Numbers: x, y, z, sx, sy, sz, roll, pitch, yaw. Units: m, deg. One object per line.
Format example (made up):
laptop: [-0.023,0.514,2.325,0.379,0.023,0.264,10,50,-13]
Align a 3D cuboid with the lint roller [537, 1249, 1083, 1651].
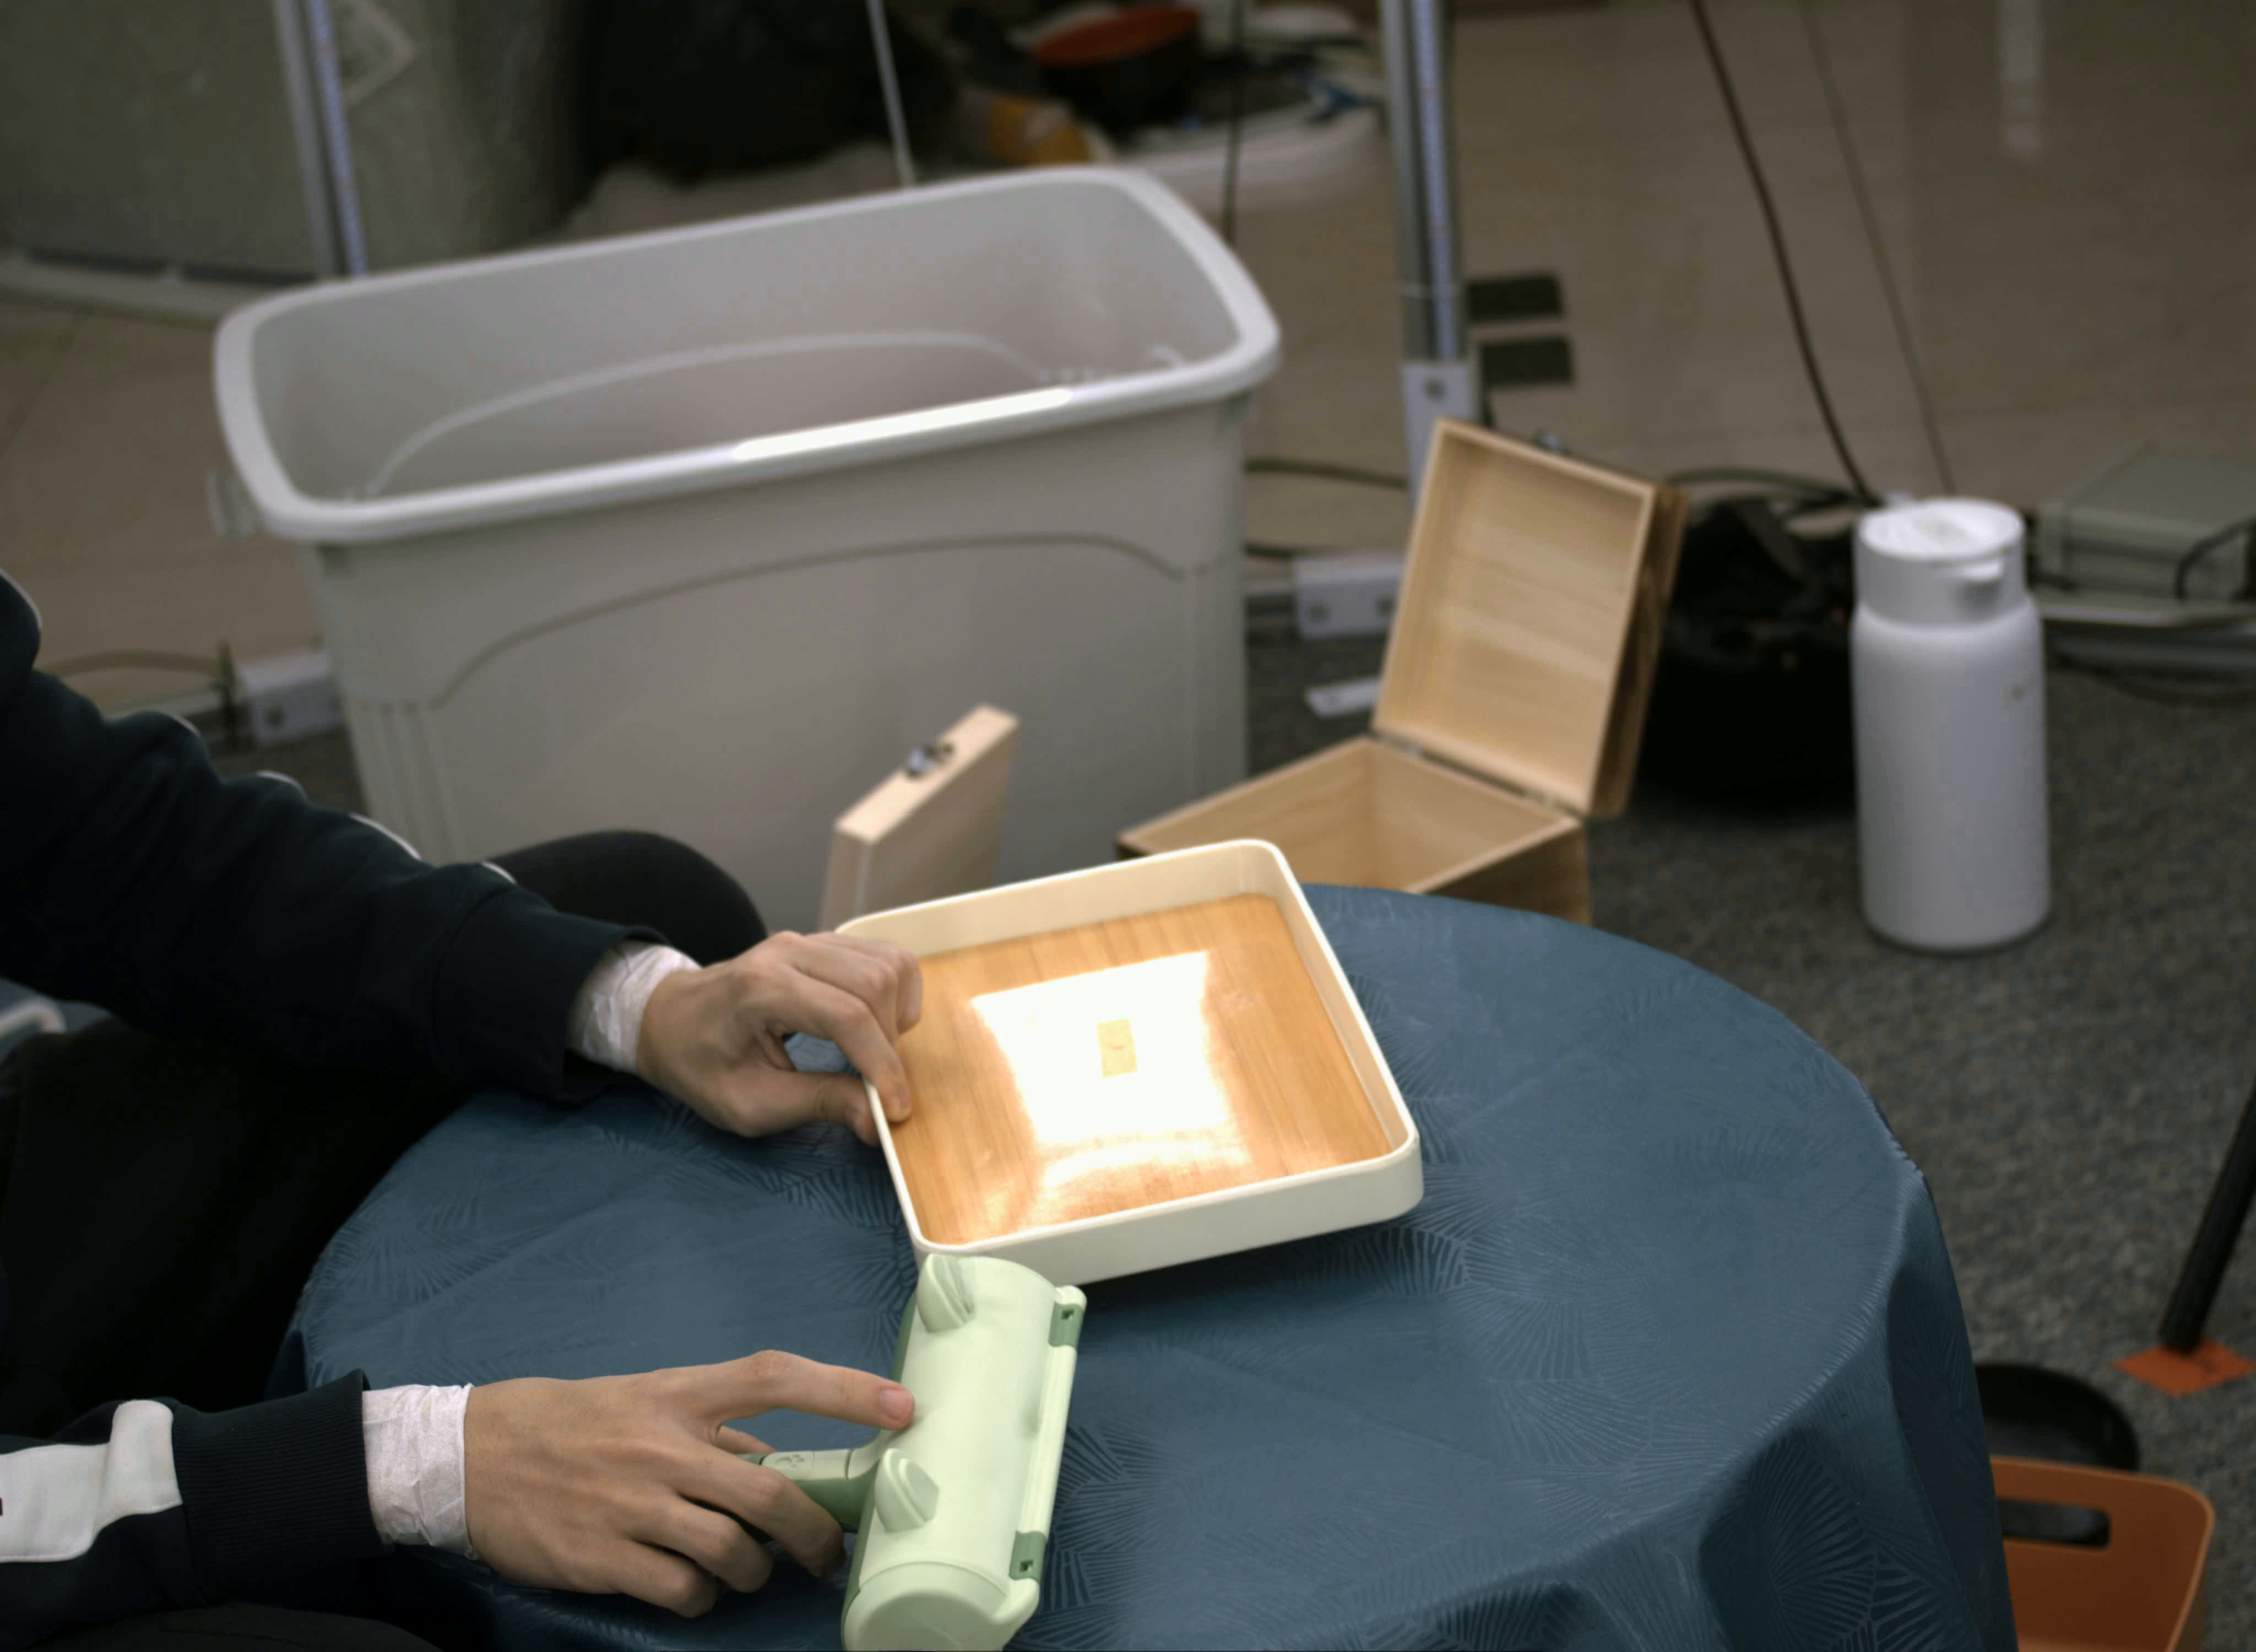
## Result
lint roller: [-0.114,0.211,1.914,0.183,0.083,0.195,-2,30,7]

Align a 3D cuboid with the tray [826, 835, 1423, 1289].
tray: [-0.007,0.090,2.180,0.191,0.028,0.296,-12,25,-5]
